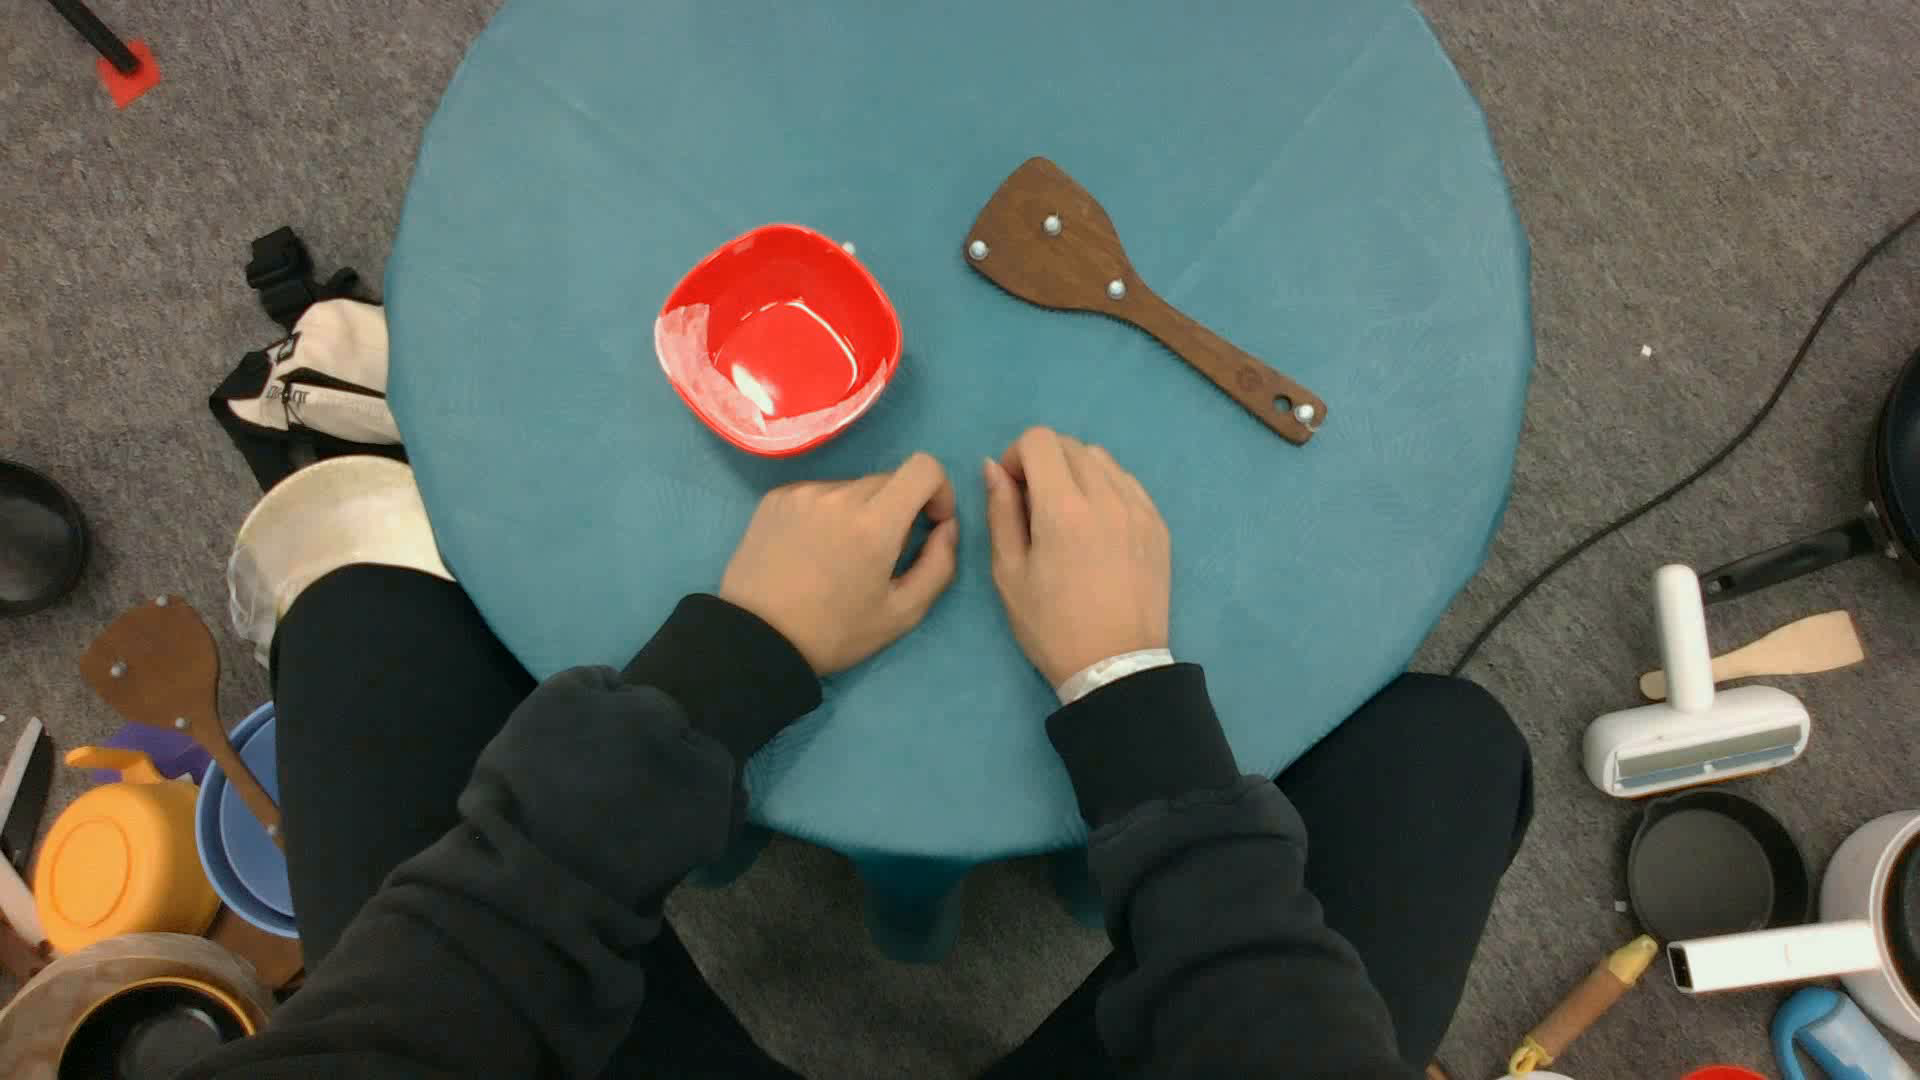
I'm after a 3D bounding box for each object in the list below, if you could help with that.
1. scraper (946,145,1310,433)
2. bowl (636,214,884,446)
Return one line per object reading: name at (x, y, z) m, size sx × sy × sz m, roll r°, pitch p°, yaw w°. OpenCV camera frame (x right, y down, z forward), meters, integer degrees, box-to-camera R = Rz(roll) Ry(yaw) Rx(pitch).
scraper at (0.092, -0.125, 0.723) m, size 0.211 × 0.011 × 0.076 m, roll 36°, pitch 79°, yaw 5°
bowl at (-0.097, -0.098, 0.688) m, size 0.119 × 0.051 × 0.119 m, roll 1°, pitch 75°, yaw -3°
